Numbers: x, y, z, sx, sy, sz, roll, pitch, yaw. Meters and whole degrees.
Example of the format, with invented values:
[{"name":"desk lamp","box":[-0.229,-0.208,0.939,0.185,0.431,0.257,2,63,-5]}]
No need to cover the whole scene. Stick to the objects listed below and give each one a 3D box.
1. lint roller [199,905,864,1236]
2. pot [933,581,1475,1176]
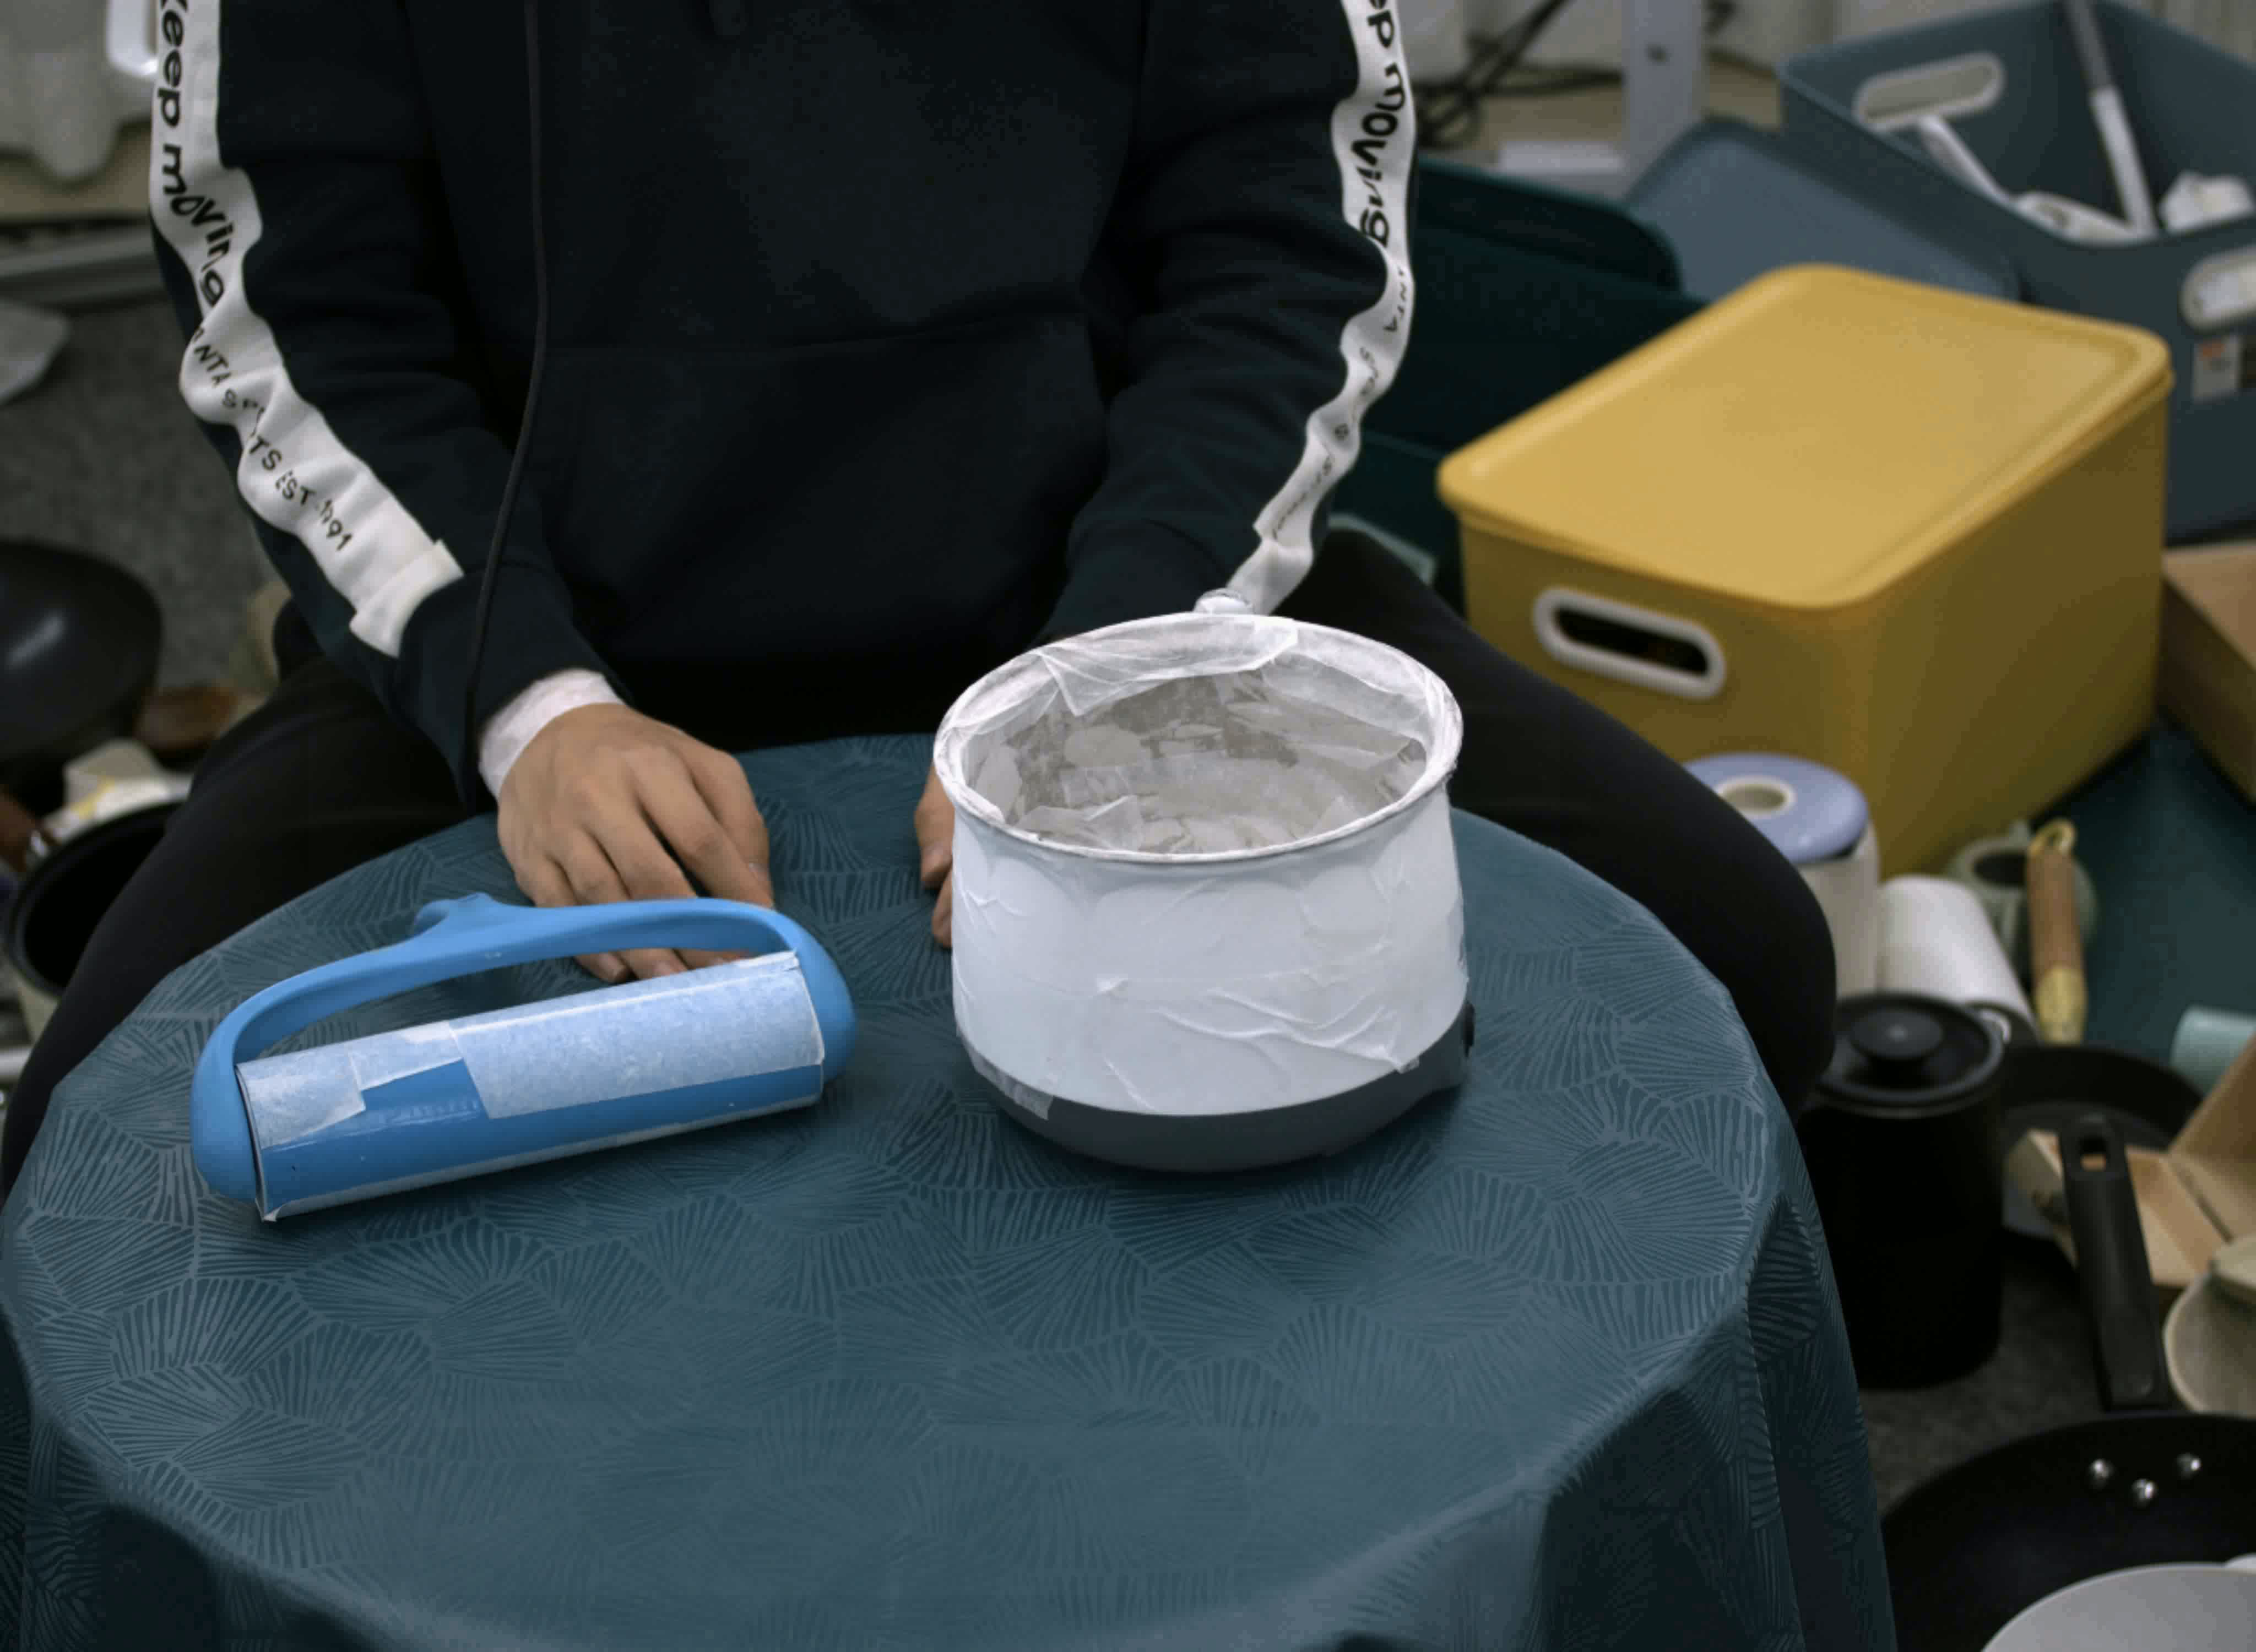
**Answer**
[{"name":"lint roller","box":[-0.221,0.063,1.934,0.229,0.067,0.181,-15,31,-18]},{"name":"pot","box":[0.029,0.010,1.920,0.177,0.135,0.237,0,29,5]}]
